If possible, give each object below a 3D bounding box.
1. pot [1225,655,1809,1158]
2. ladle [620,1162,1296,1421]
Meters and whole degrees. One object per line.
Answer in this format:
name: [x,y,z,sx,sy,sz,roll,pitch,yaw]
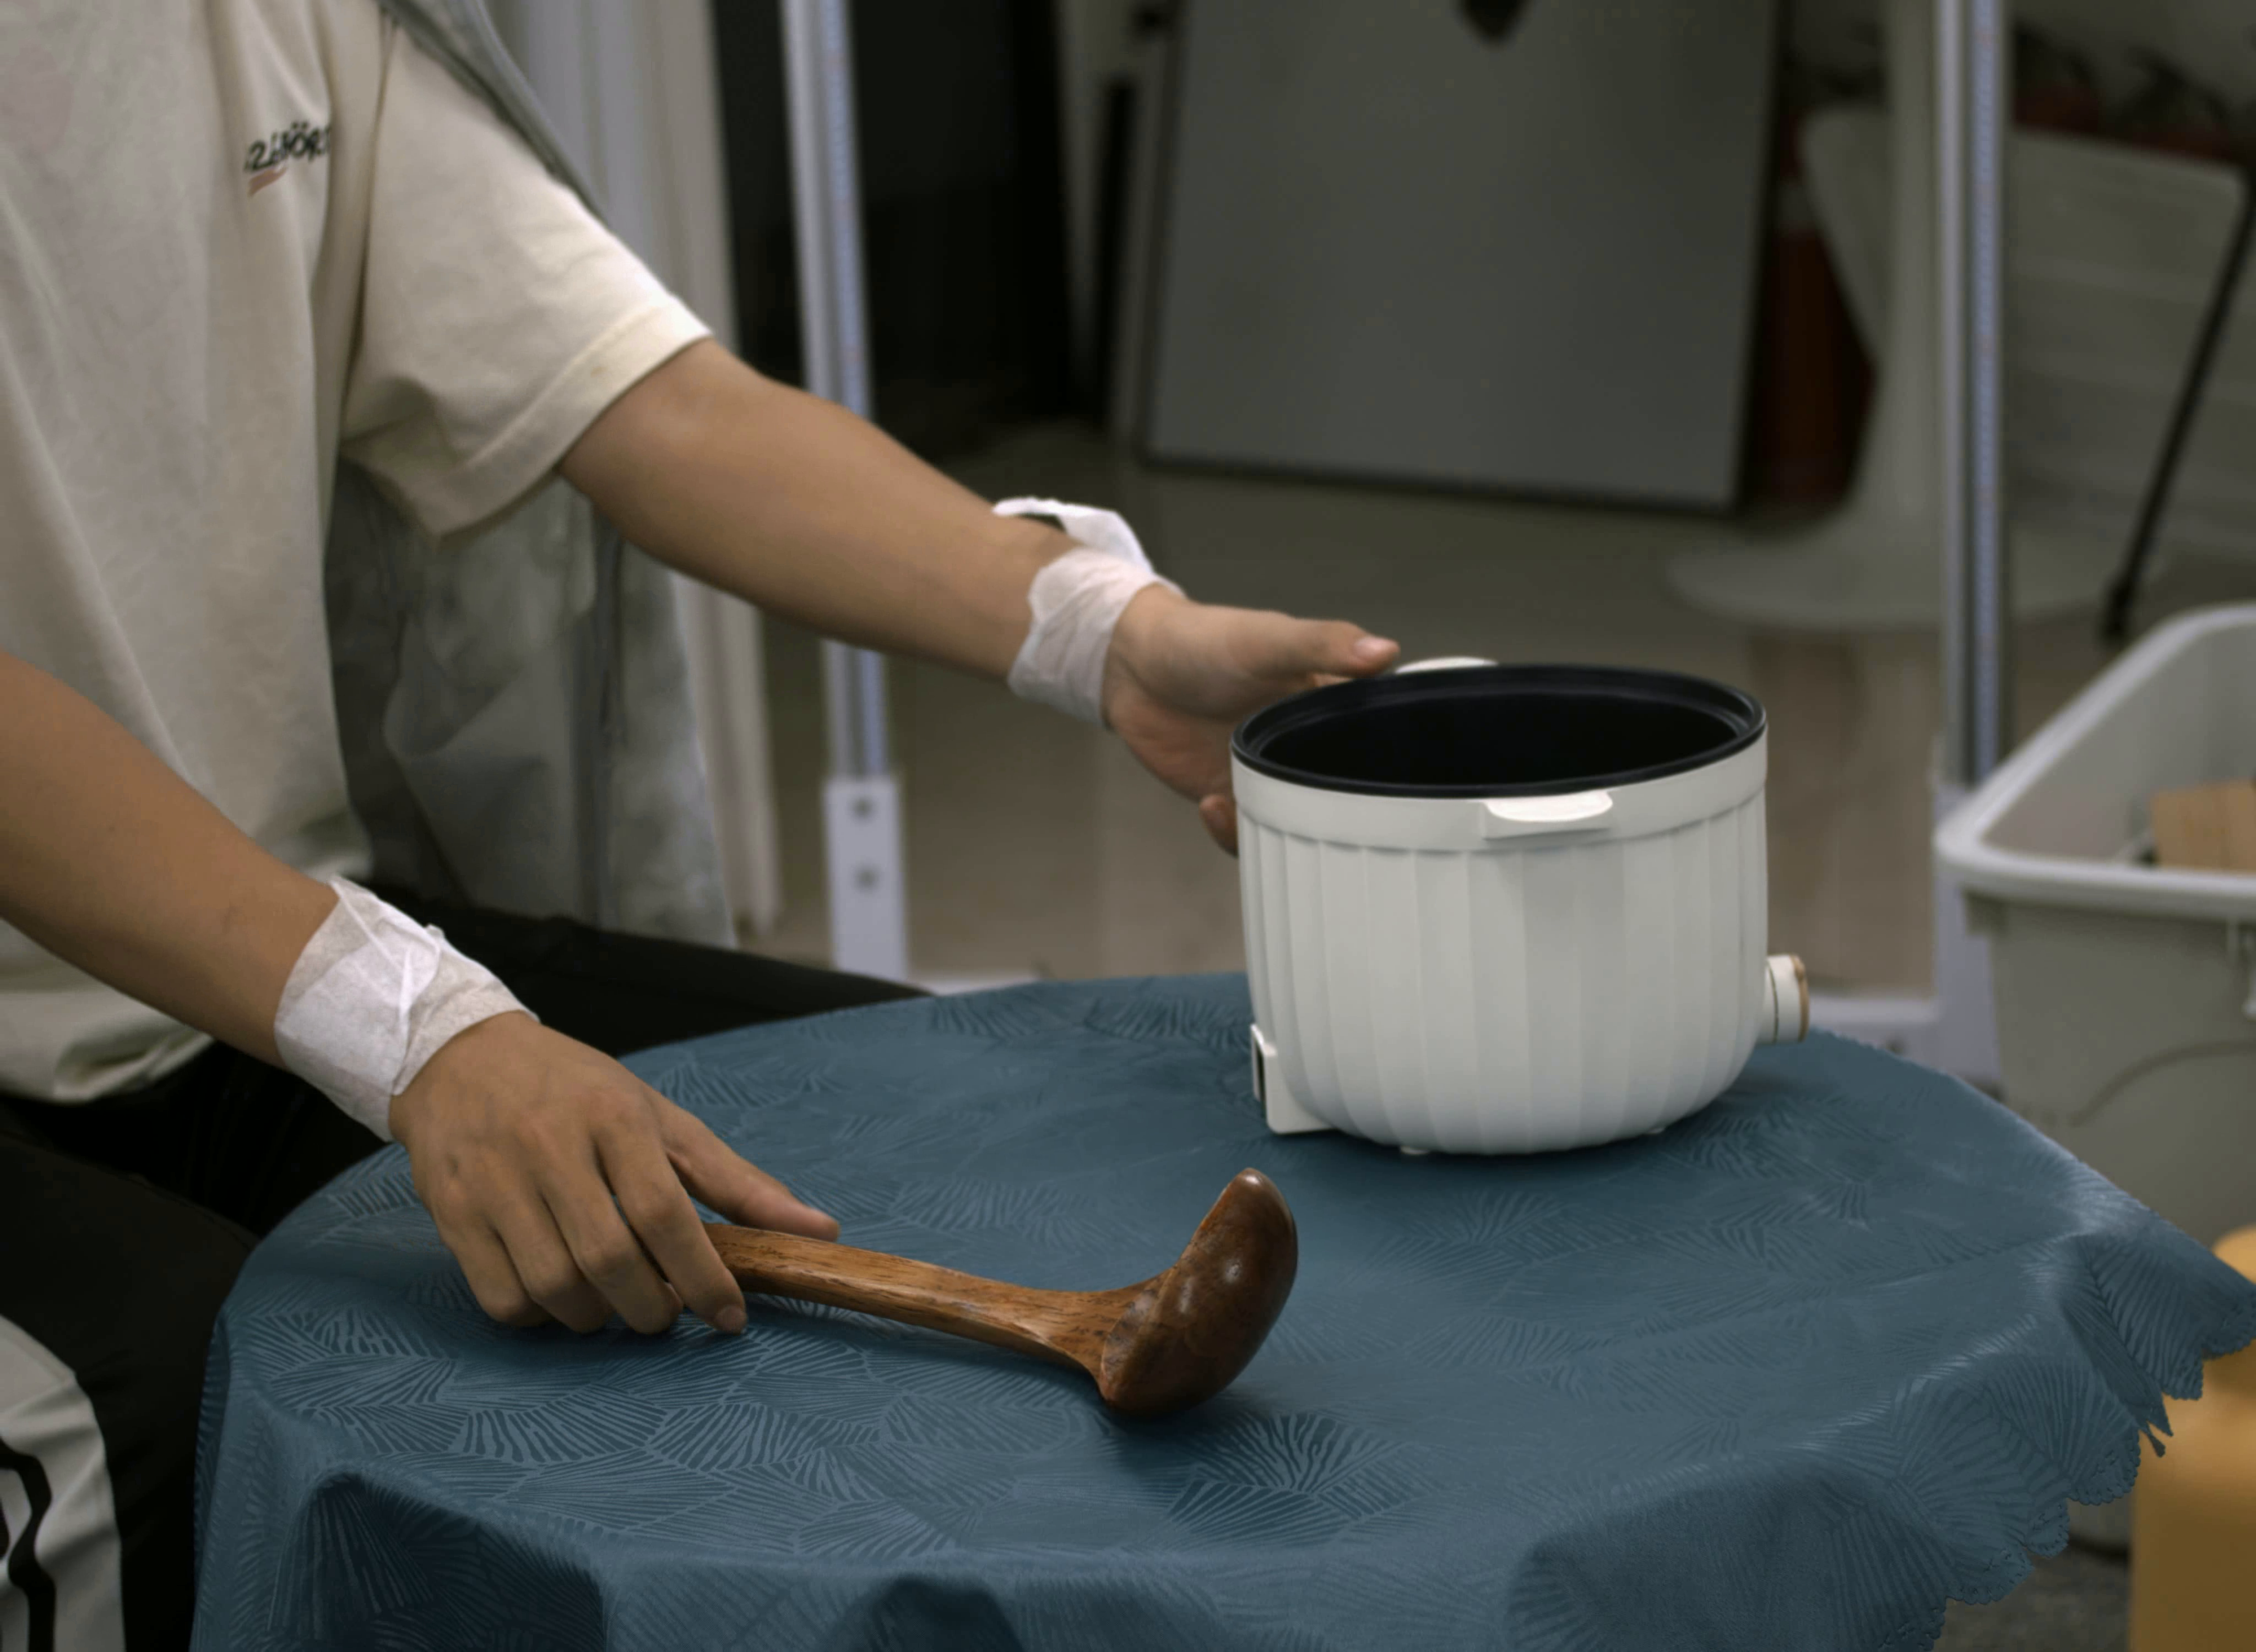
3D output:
pot: [0.133,0.028,1.822,0.188,0.144,0.241,-9,15,-4]
ladle: [-0.063,0.125,1.622,0.276,0.076,0.081,9,43,39]
